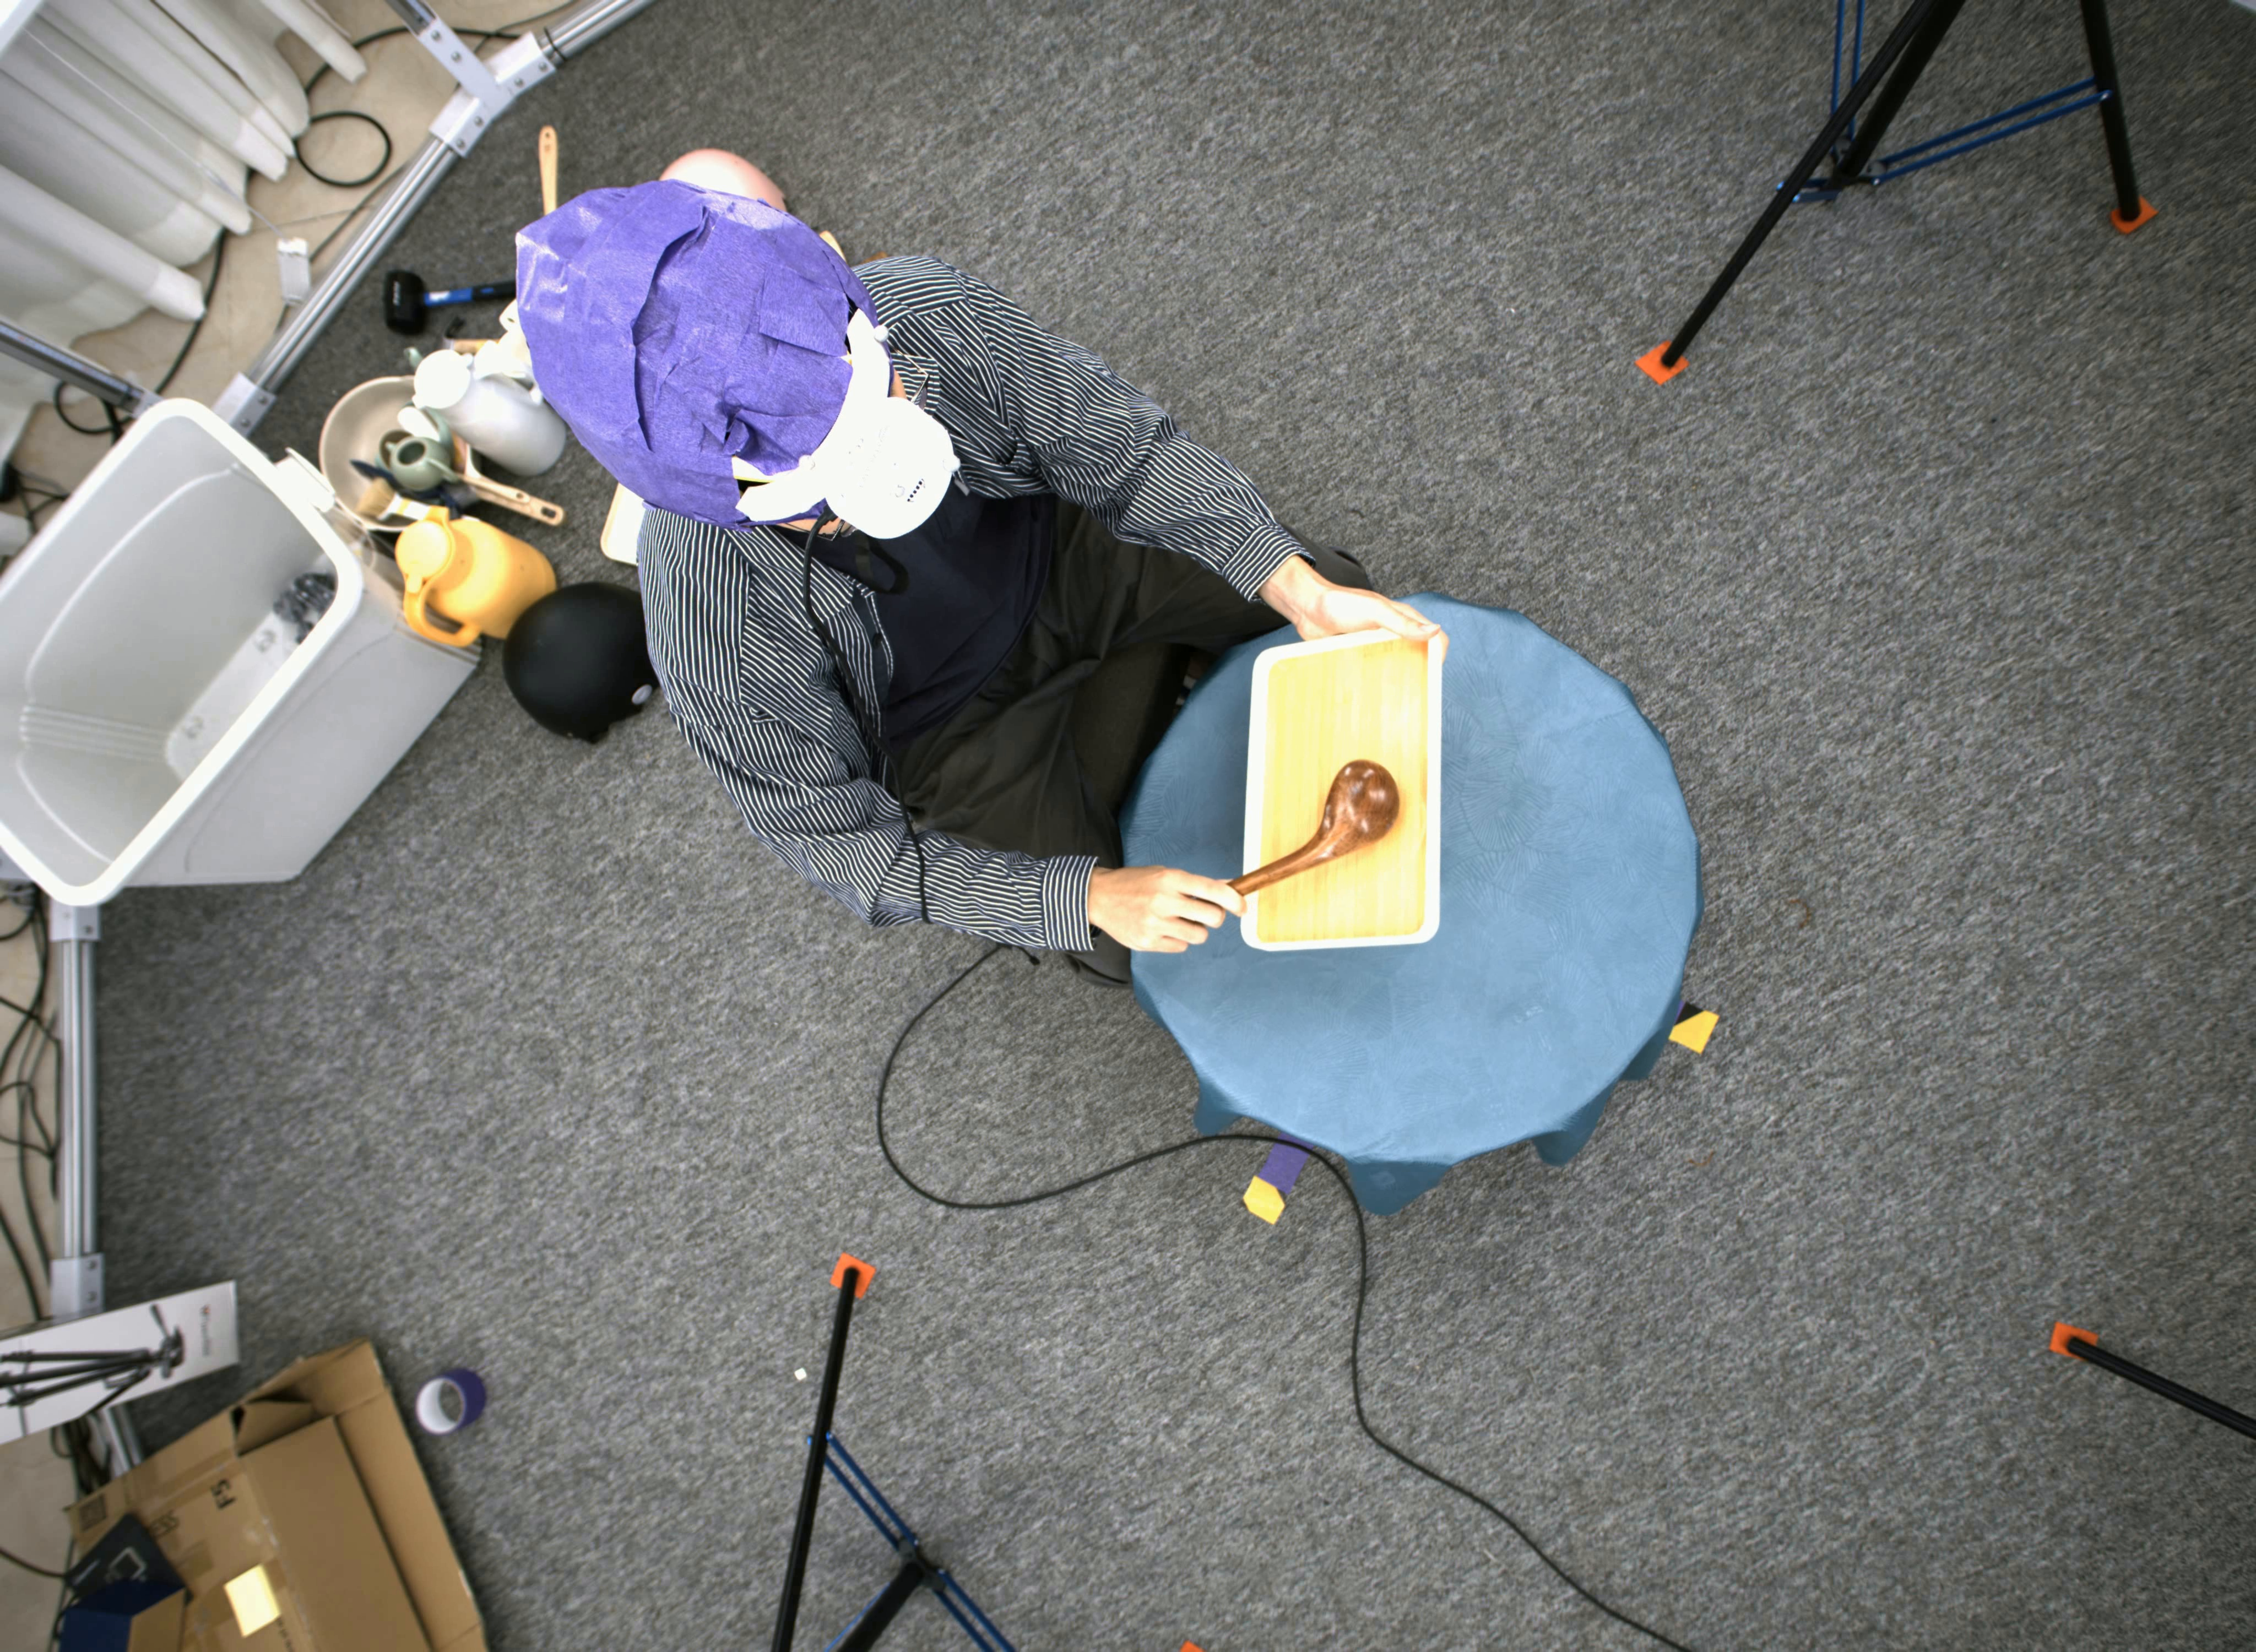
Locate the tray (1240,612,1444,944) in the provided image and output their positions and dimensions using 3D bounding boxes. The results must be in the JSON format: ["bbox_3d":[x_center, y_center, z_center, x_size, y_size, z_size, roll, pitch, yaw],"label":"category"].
[{"bbox_3d":[0.198,-0.043,1.273,0.193,0.027,0.297,-4,76,35],"label":"tray"}]

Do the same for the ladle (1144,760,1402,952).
[{"bbox_3d":[0.125,0.027,1.264,0.278,0.074,0.083,-29,125,28],"label":"ladle"}]
